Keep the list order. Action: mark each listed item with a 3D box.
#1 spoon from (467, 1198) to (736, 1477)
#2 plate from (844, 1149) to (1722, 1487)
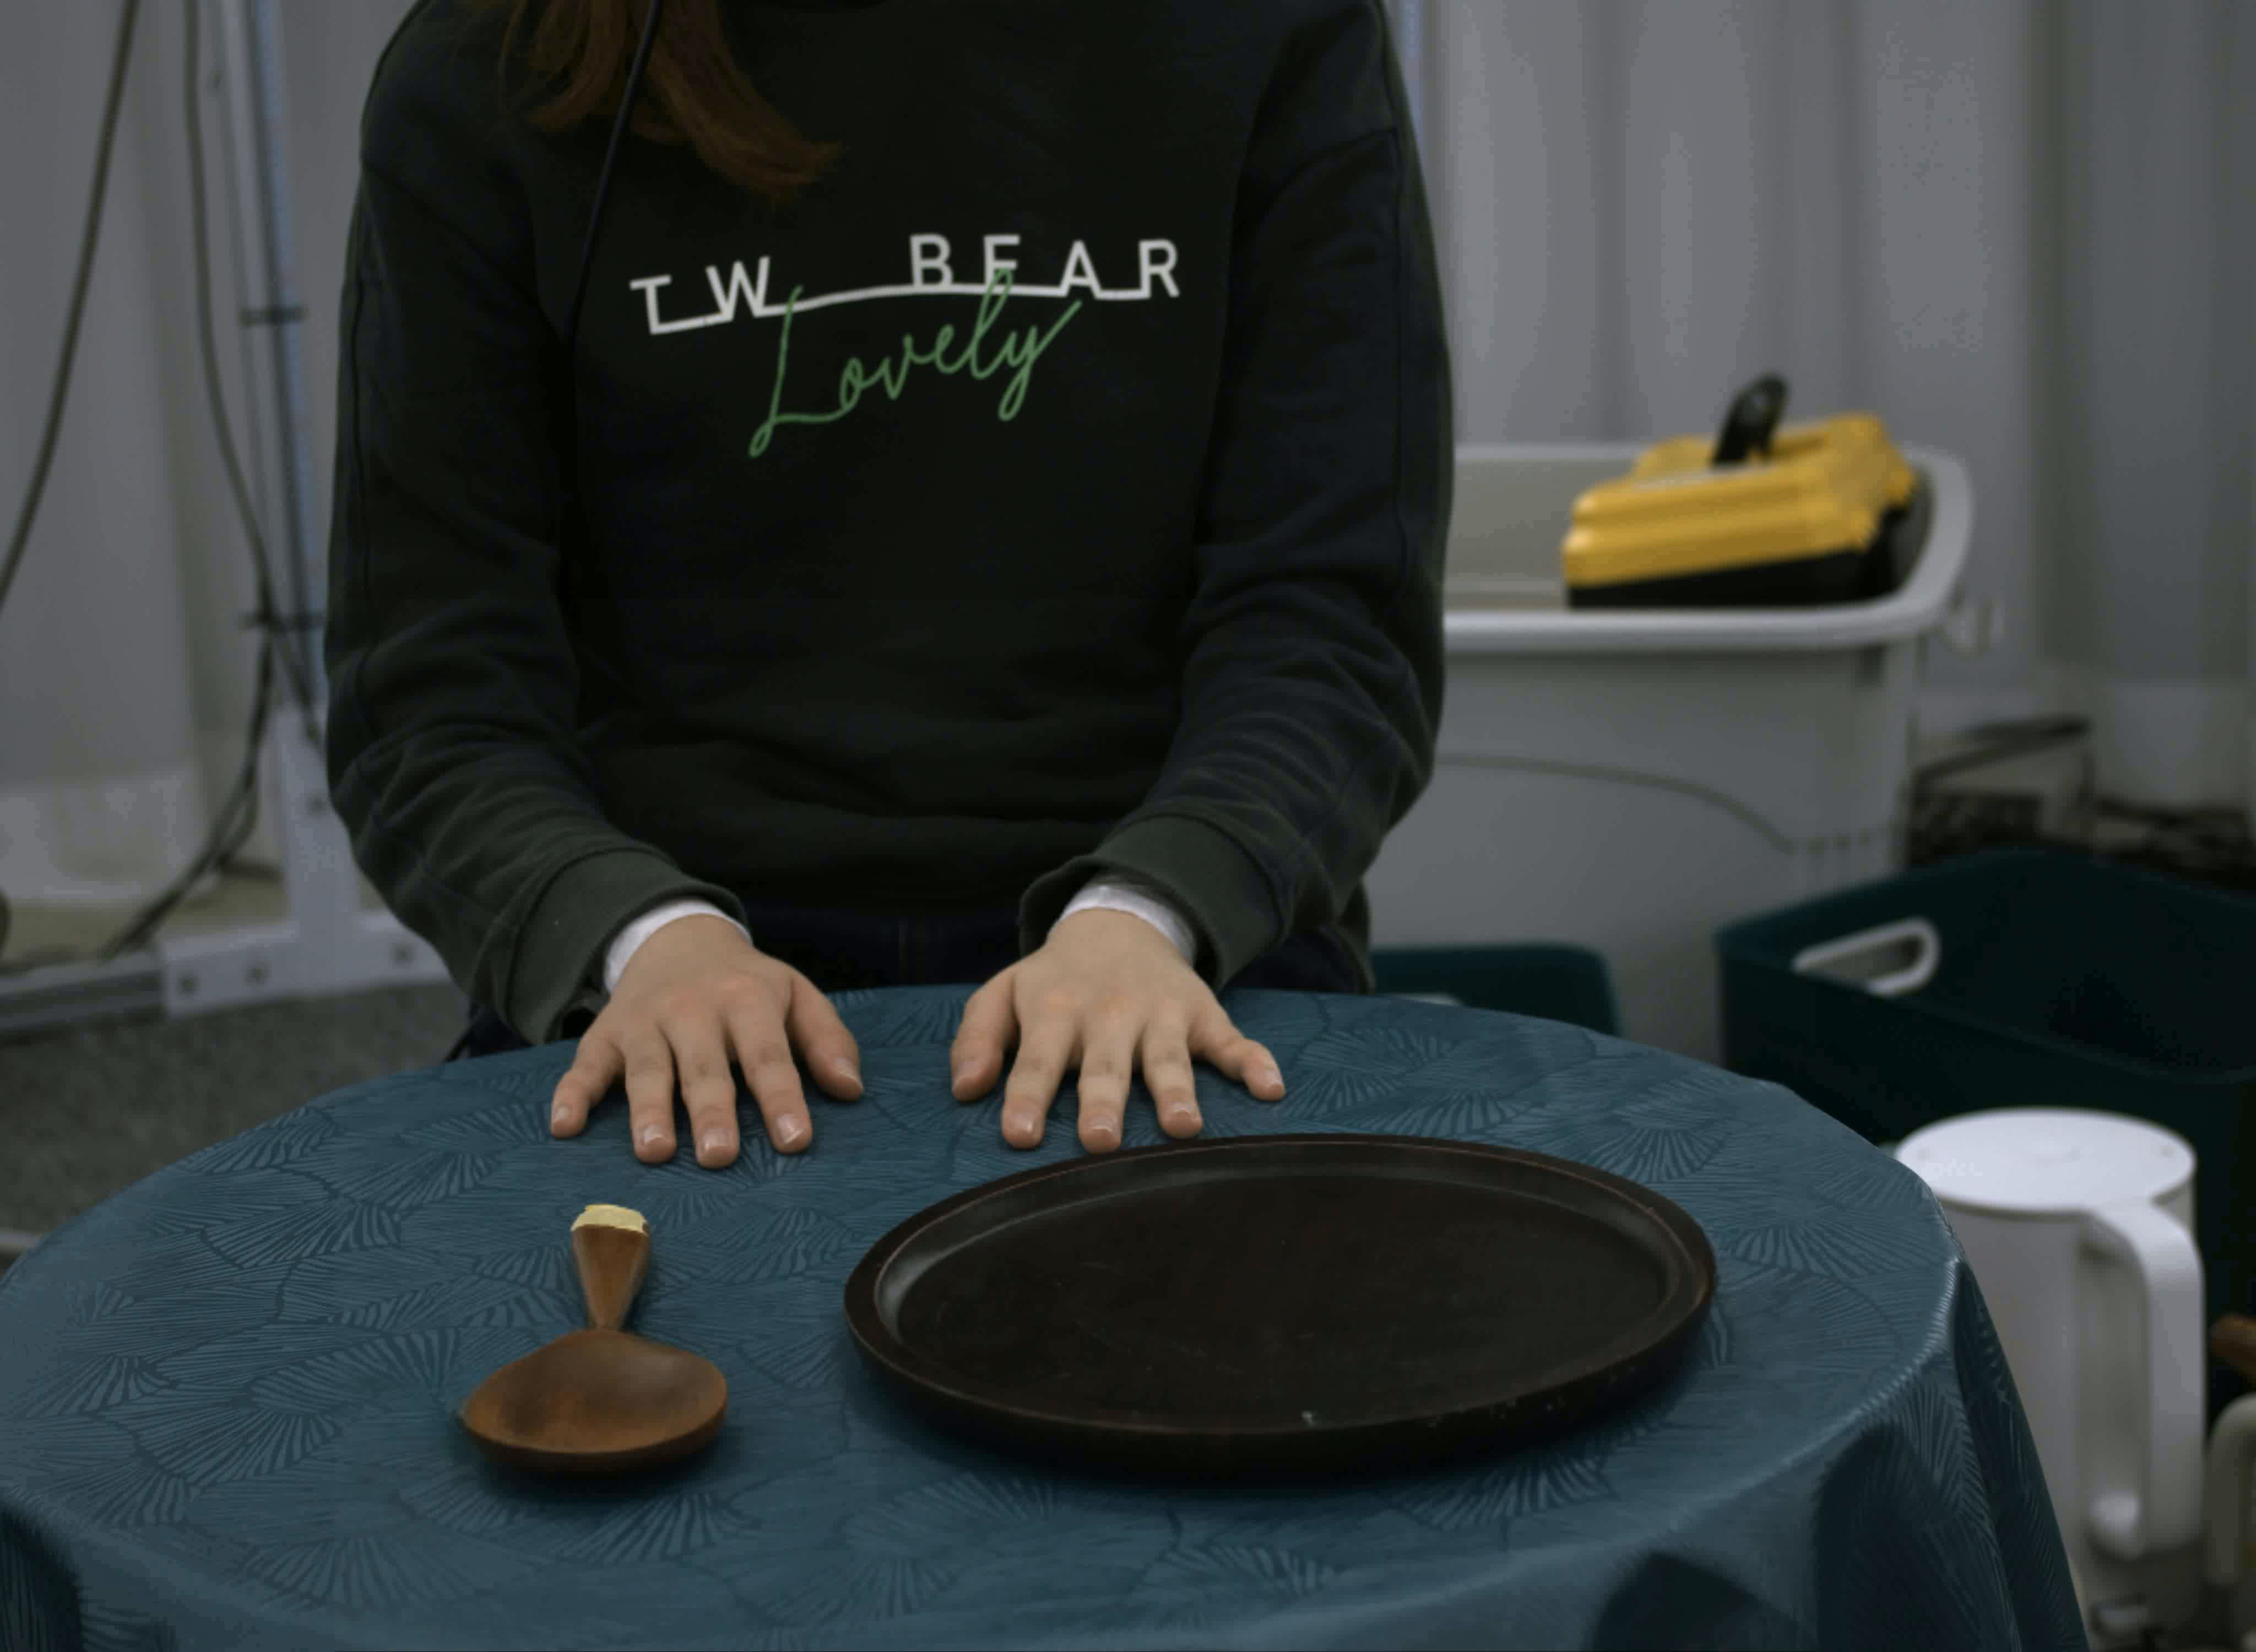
[{"bbox_3d":[-0.151,0.149,1.582,0.075,0.017,0.217,-4,15,-3],"label":"spoon"},{"bbox_3d":[0.044,0.138,1.575,0.254,0.029,0.256,-2,15,0],"label":"plate"}]
